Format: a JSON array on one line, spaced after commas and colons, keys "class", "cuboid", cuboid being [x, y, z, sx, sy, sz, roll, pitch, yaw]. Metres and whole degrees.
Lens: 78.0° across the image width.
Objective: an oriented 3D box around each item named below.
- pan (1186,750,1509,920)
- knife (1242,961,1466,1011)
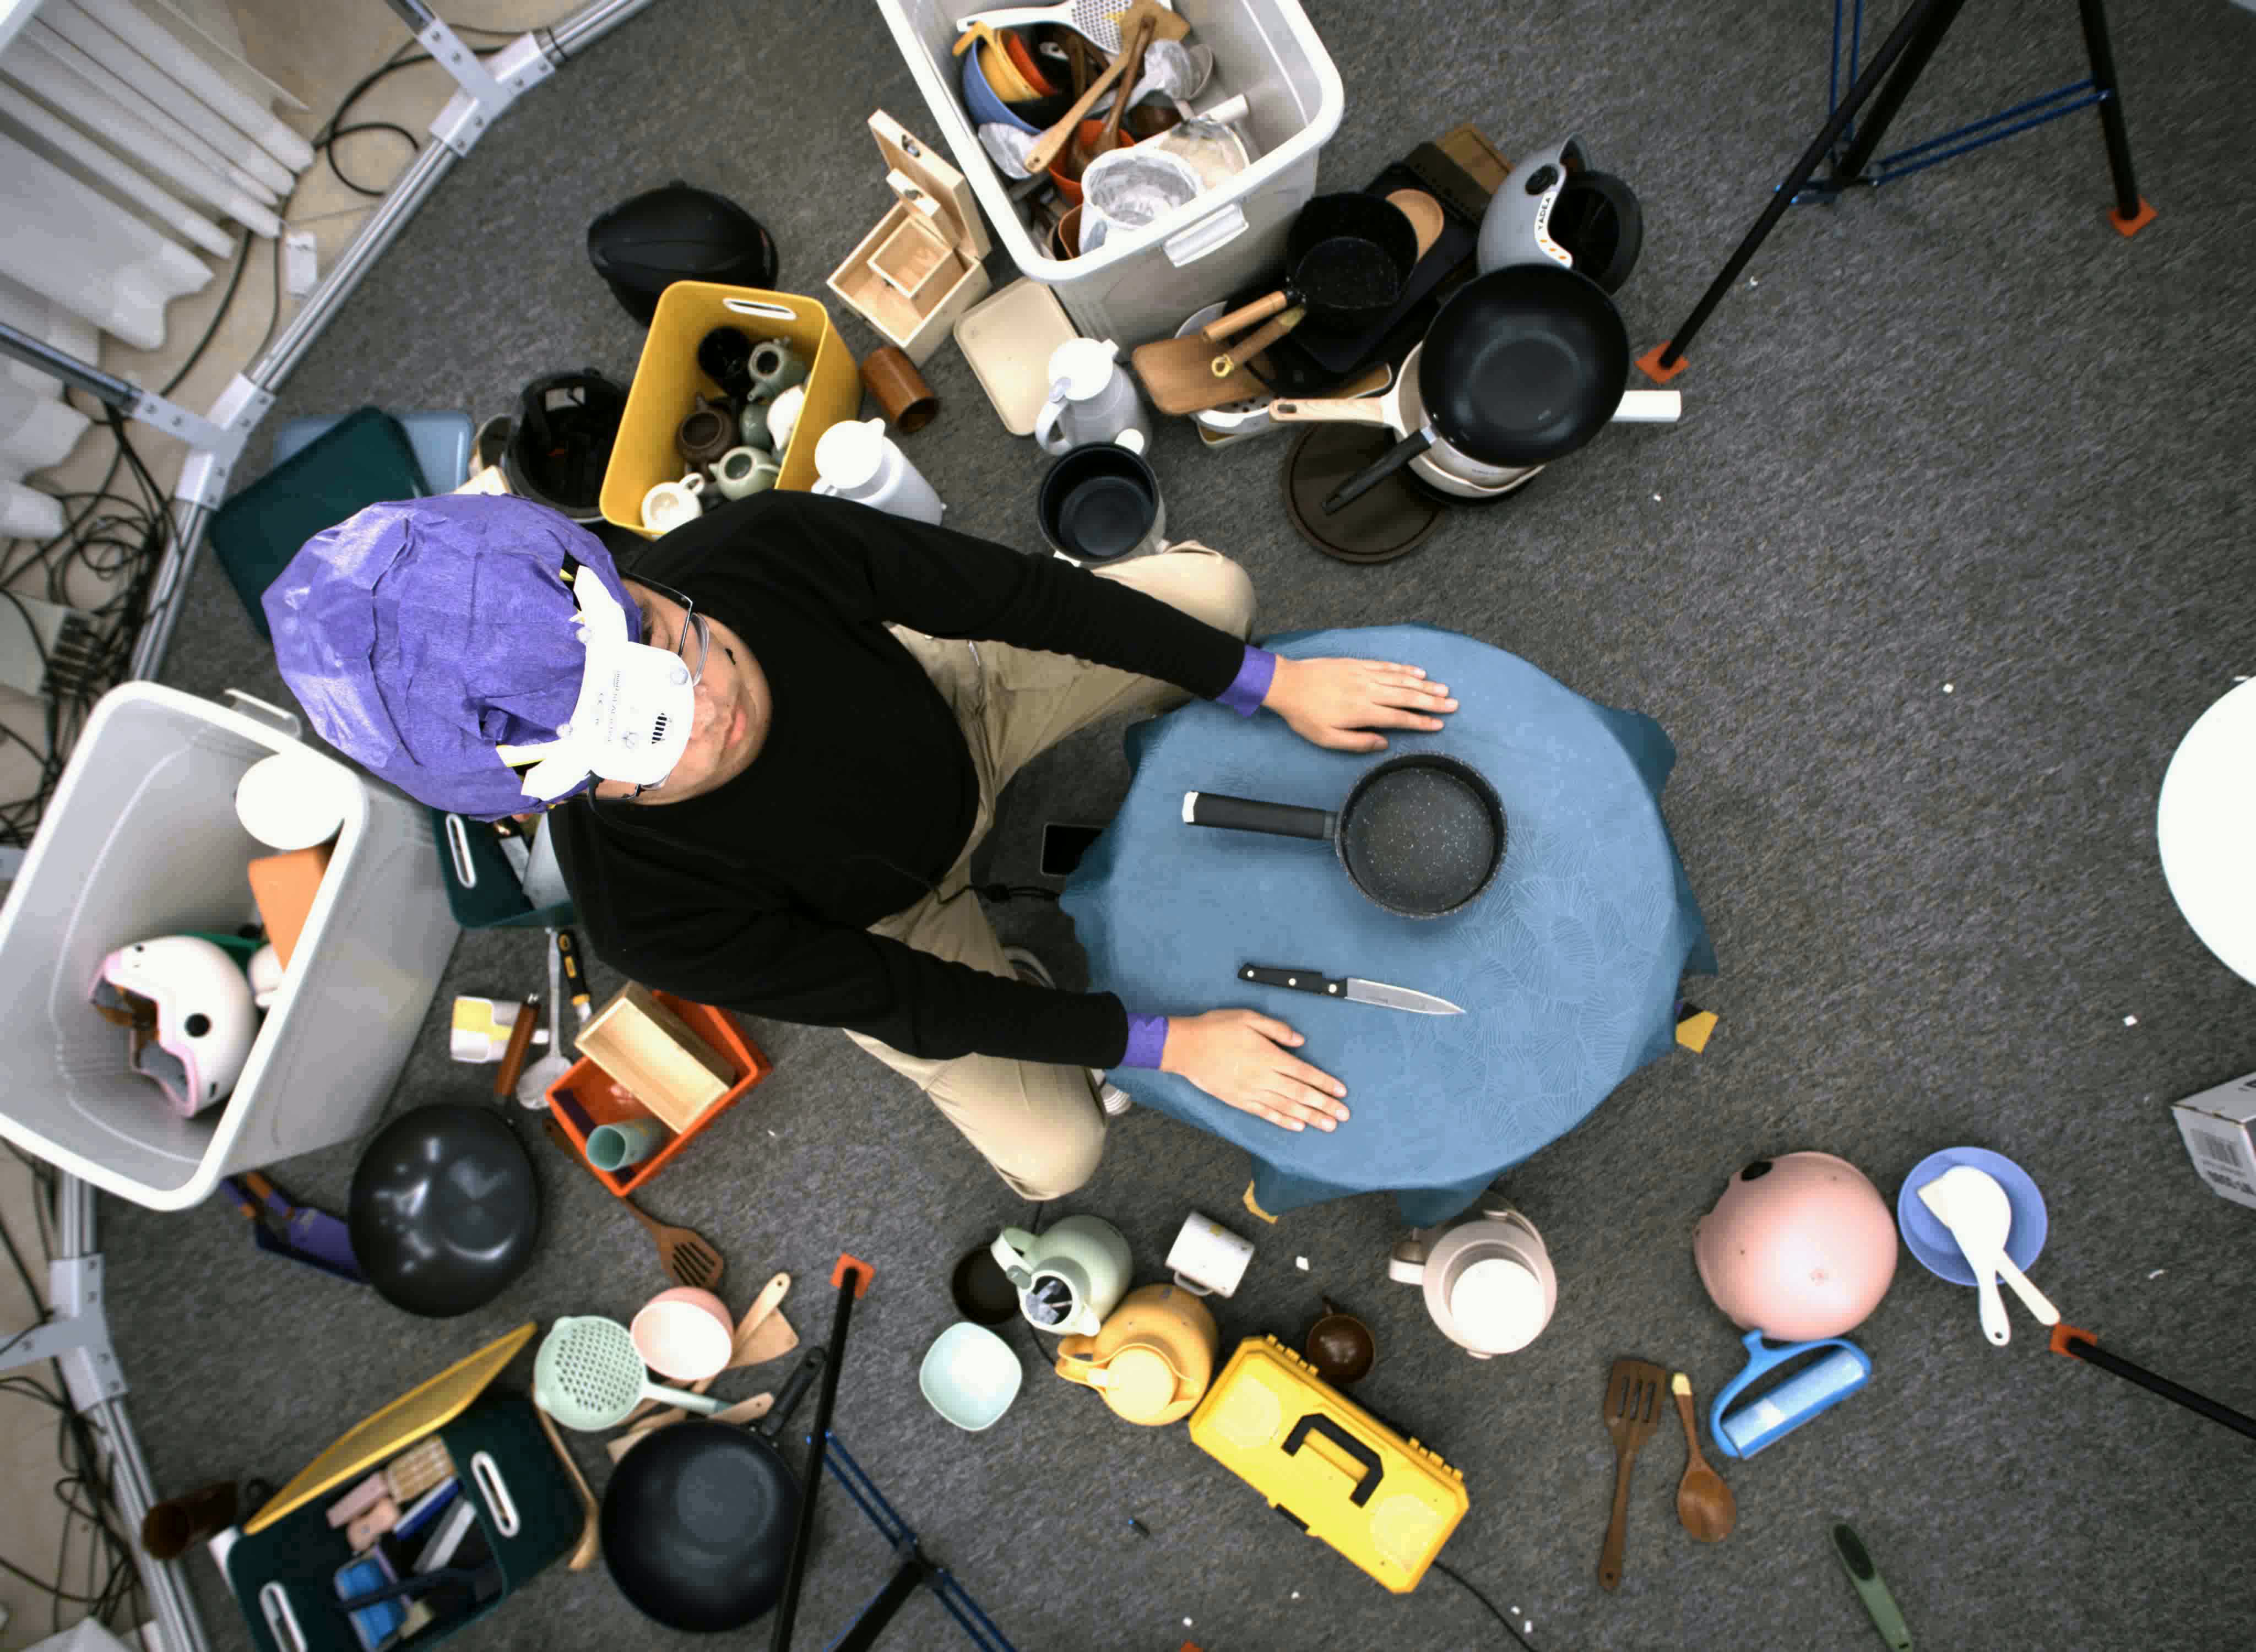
[{"class": "pan", "cuboid": [0.224, -0.002, 1.431, 0.329, 0.086, 0.171, 10, 88, 10]}, {"class": "knife", "cuboid": [0.236, 0.171, 1.457, 0.238, 0.016, 0.024, 10, 85, 8]}]
